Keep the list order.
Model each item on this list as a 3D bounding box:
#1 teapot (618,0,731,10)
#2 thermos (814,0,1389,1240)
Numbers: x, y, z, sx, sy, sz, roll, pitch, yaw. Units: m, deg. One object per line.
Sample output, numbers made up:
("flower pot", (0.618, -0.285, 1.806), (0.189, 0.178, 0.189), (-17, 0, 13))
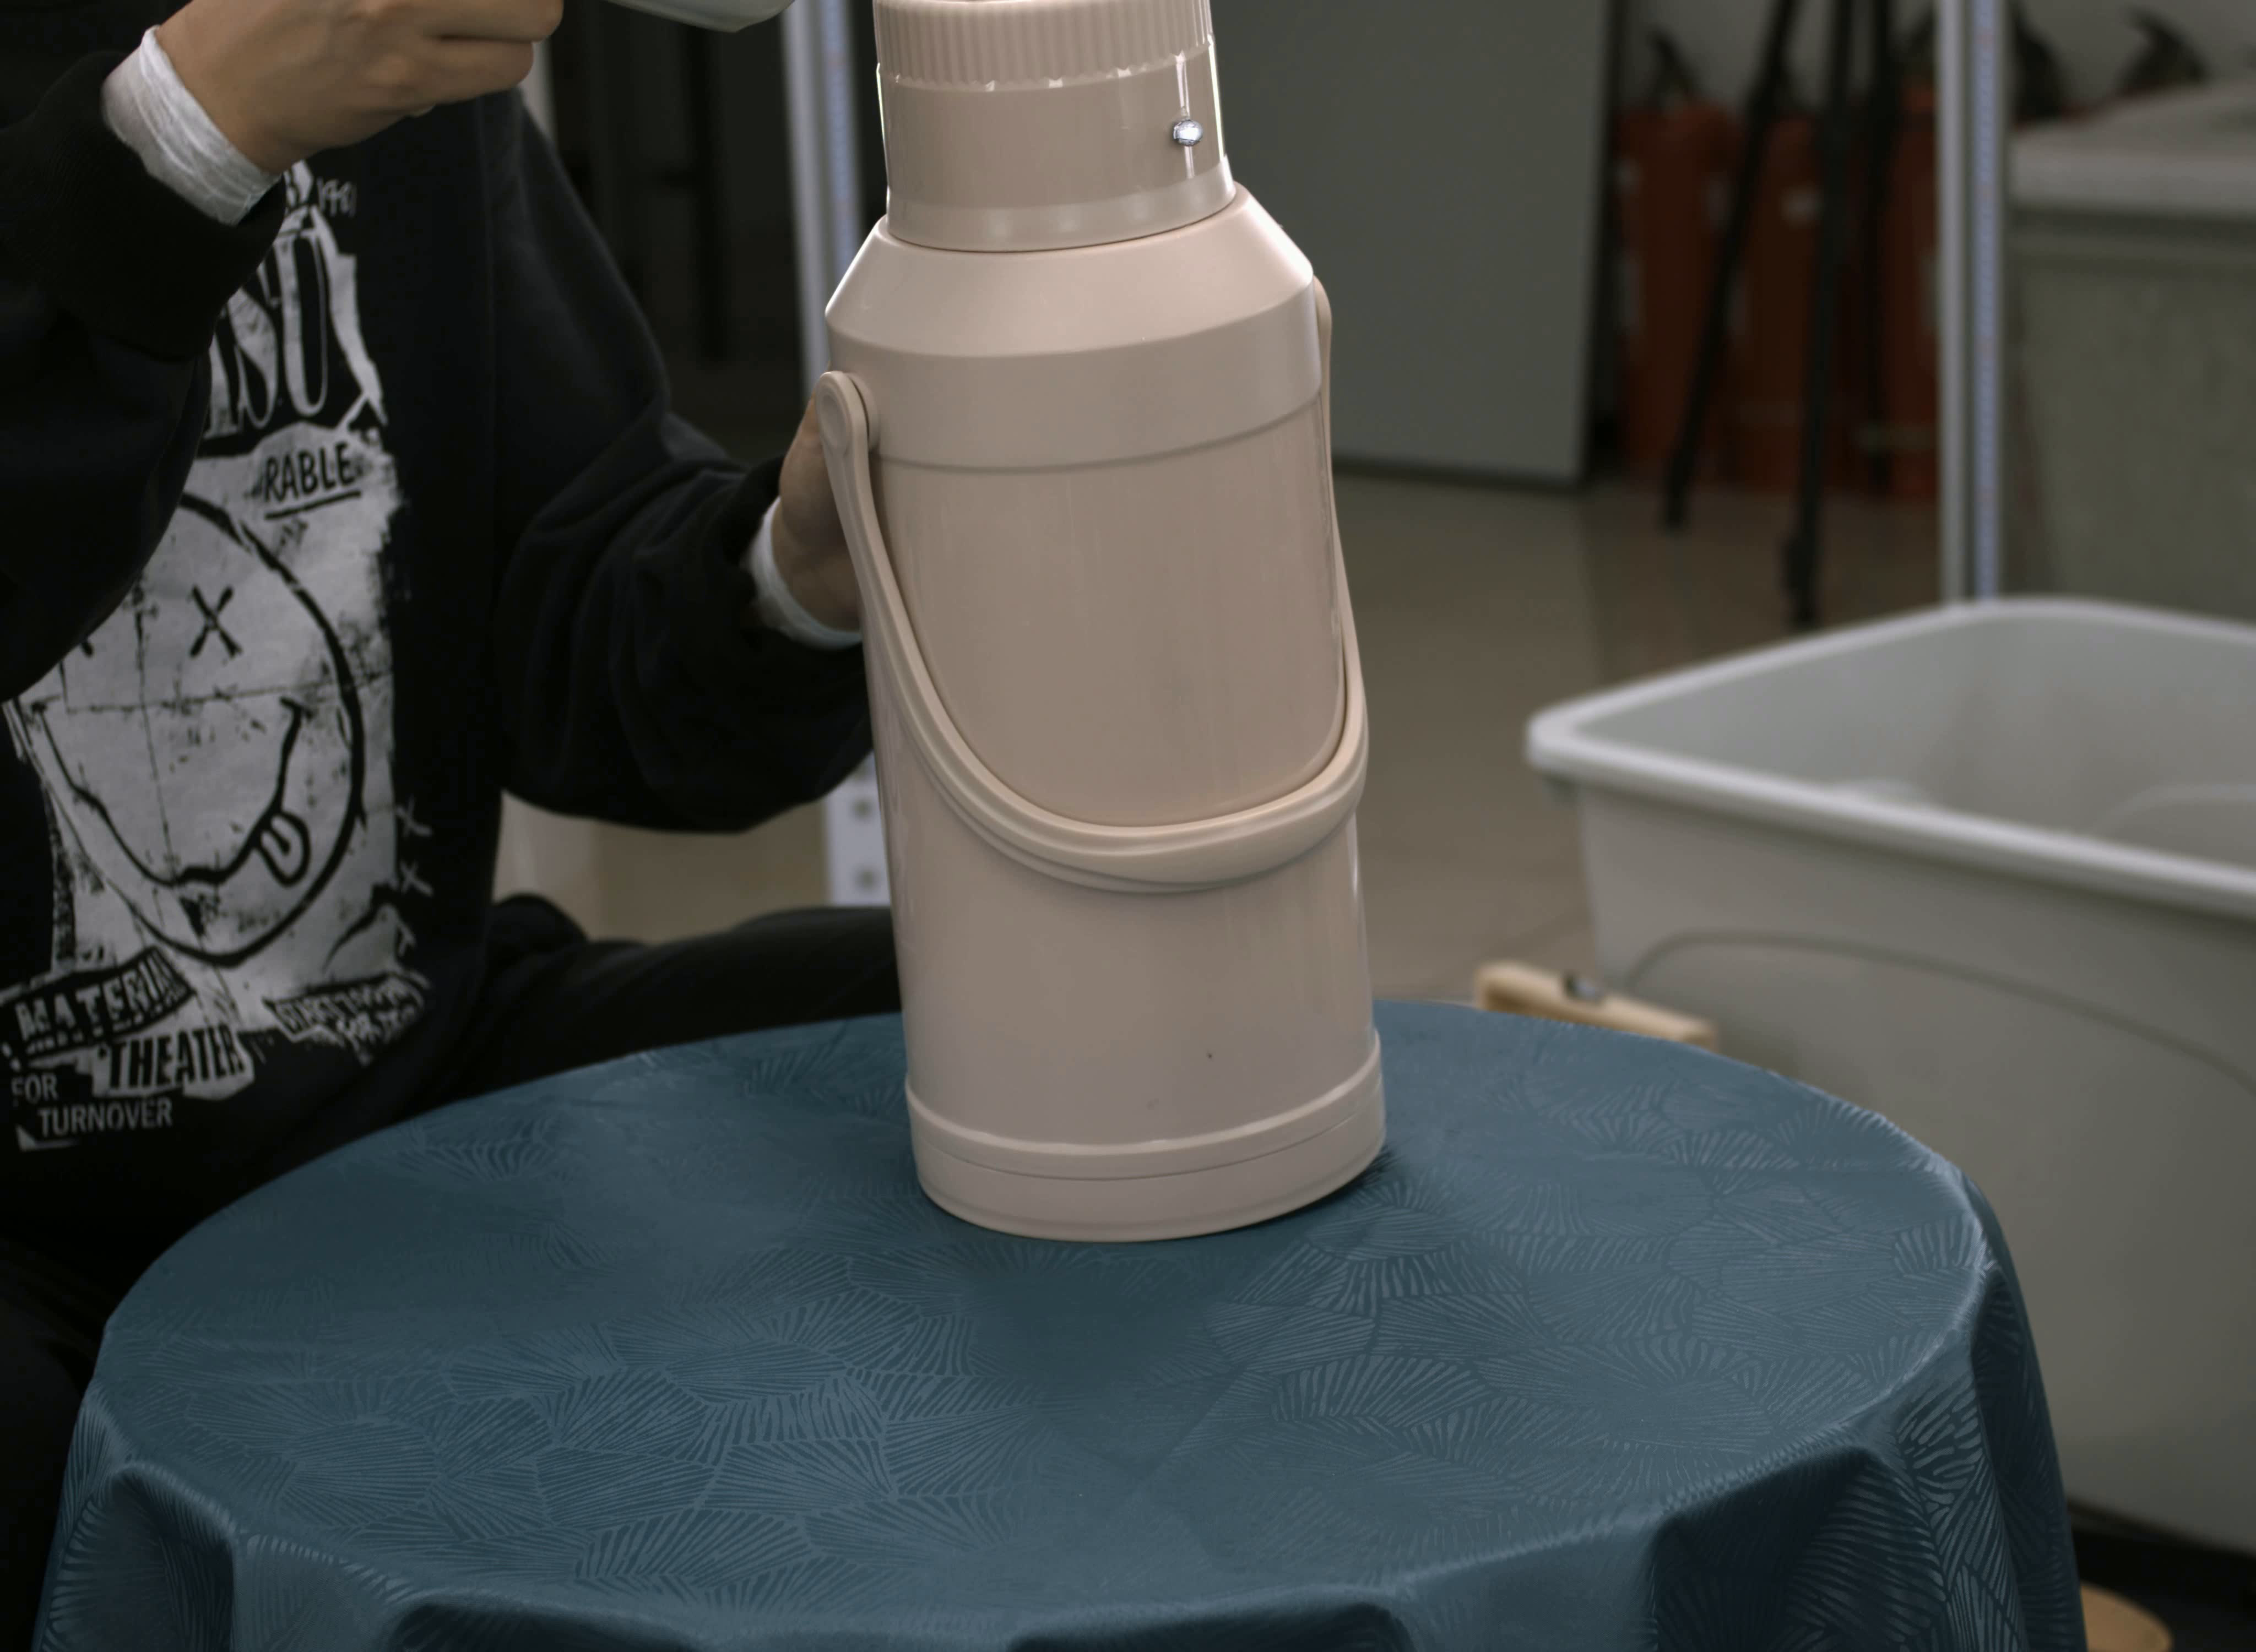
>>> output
("teapot", (-0.136, -0.276, 1.620), (0.125, 0.060, 0.092), (-10, 5, -14))
("thermos", (-0.016, -0.085, 1.751), (0.172, 0.410, 0.209), (-16, 21, -25))
